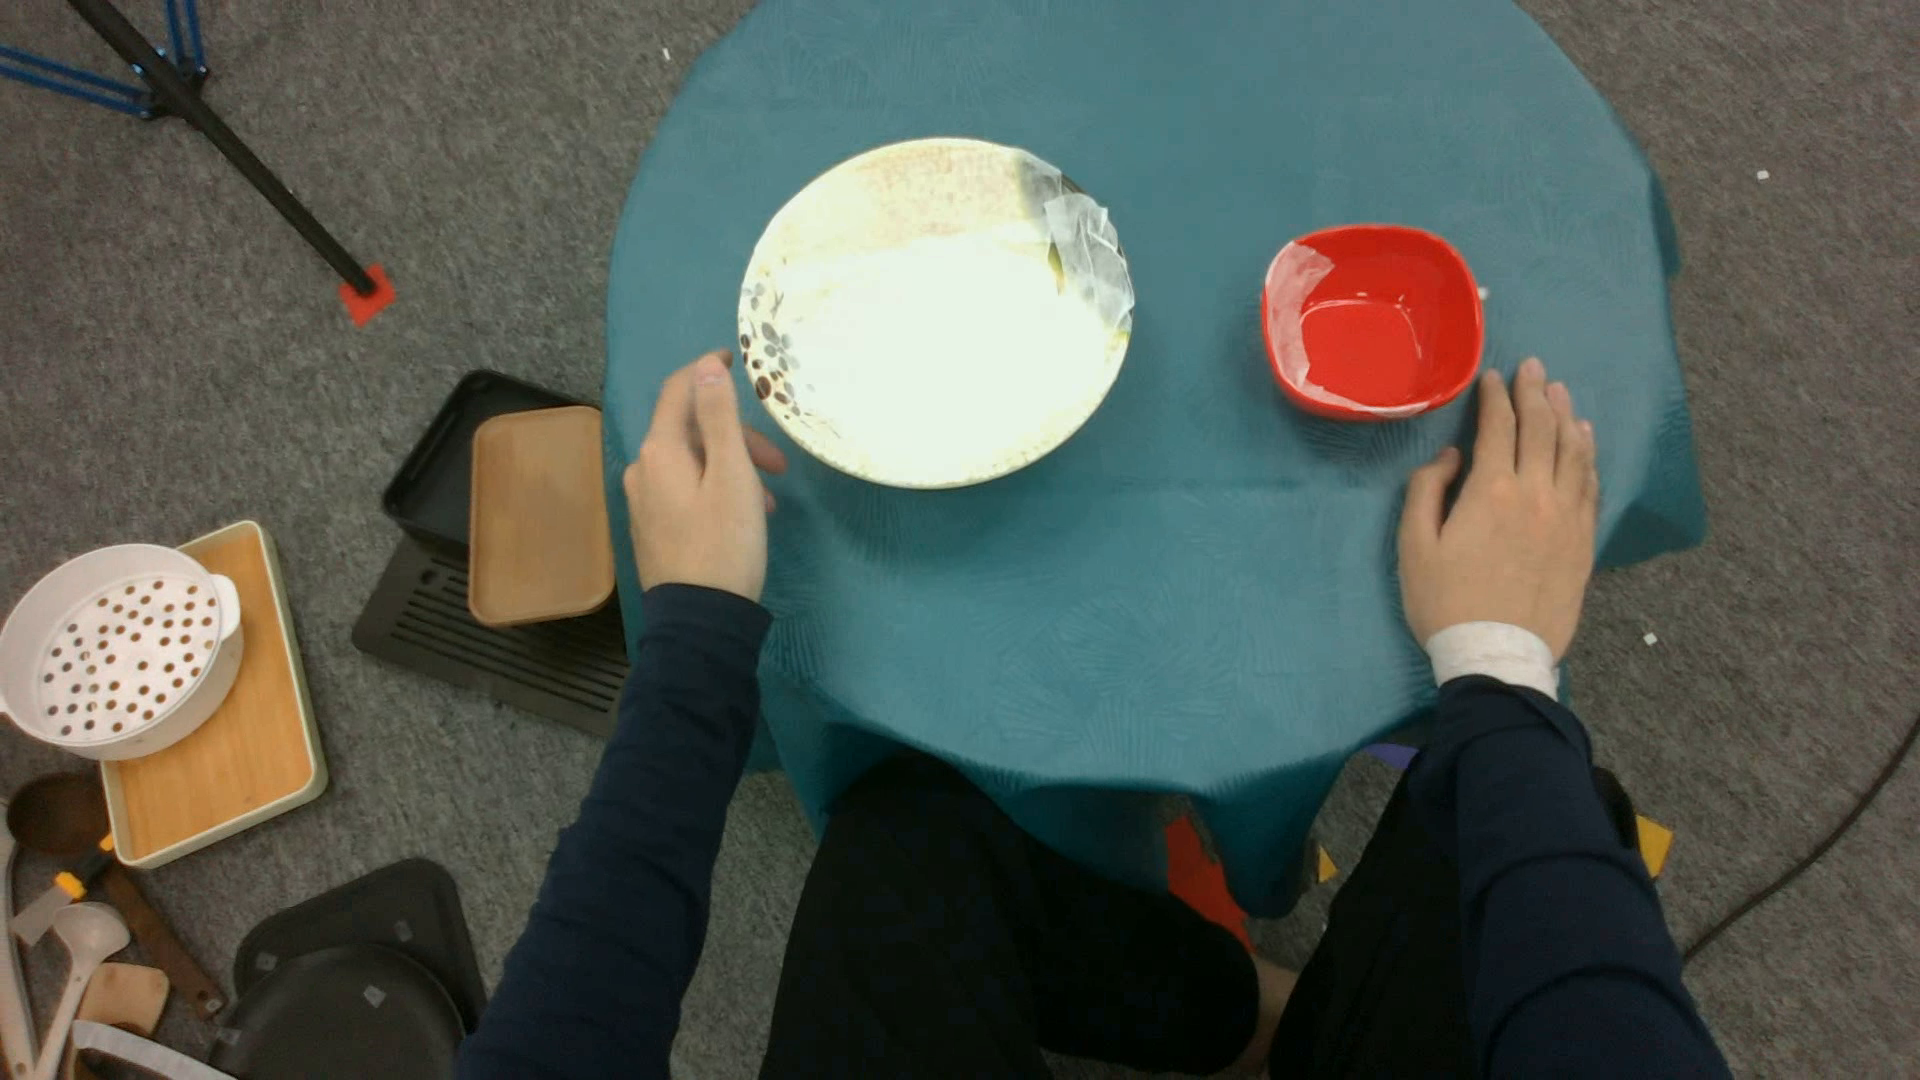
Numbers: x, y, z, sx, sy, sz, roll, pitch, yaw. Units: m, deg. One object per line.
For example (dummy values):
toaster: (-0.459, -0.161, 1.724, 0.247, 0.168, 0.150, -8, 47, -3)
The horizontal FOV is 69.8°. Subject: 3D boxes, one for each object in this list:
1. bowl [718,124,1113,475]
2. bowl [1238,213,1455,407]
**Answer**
bowl: (-0.021, -0.116, 0.737, 0.204, 0.078, 0.204, -1, 70, 4)
bowl: (0.201, -0.114, 0.735, 0.119, 0.051, 0.119, -1, 69, 2)
